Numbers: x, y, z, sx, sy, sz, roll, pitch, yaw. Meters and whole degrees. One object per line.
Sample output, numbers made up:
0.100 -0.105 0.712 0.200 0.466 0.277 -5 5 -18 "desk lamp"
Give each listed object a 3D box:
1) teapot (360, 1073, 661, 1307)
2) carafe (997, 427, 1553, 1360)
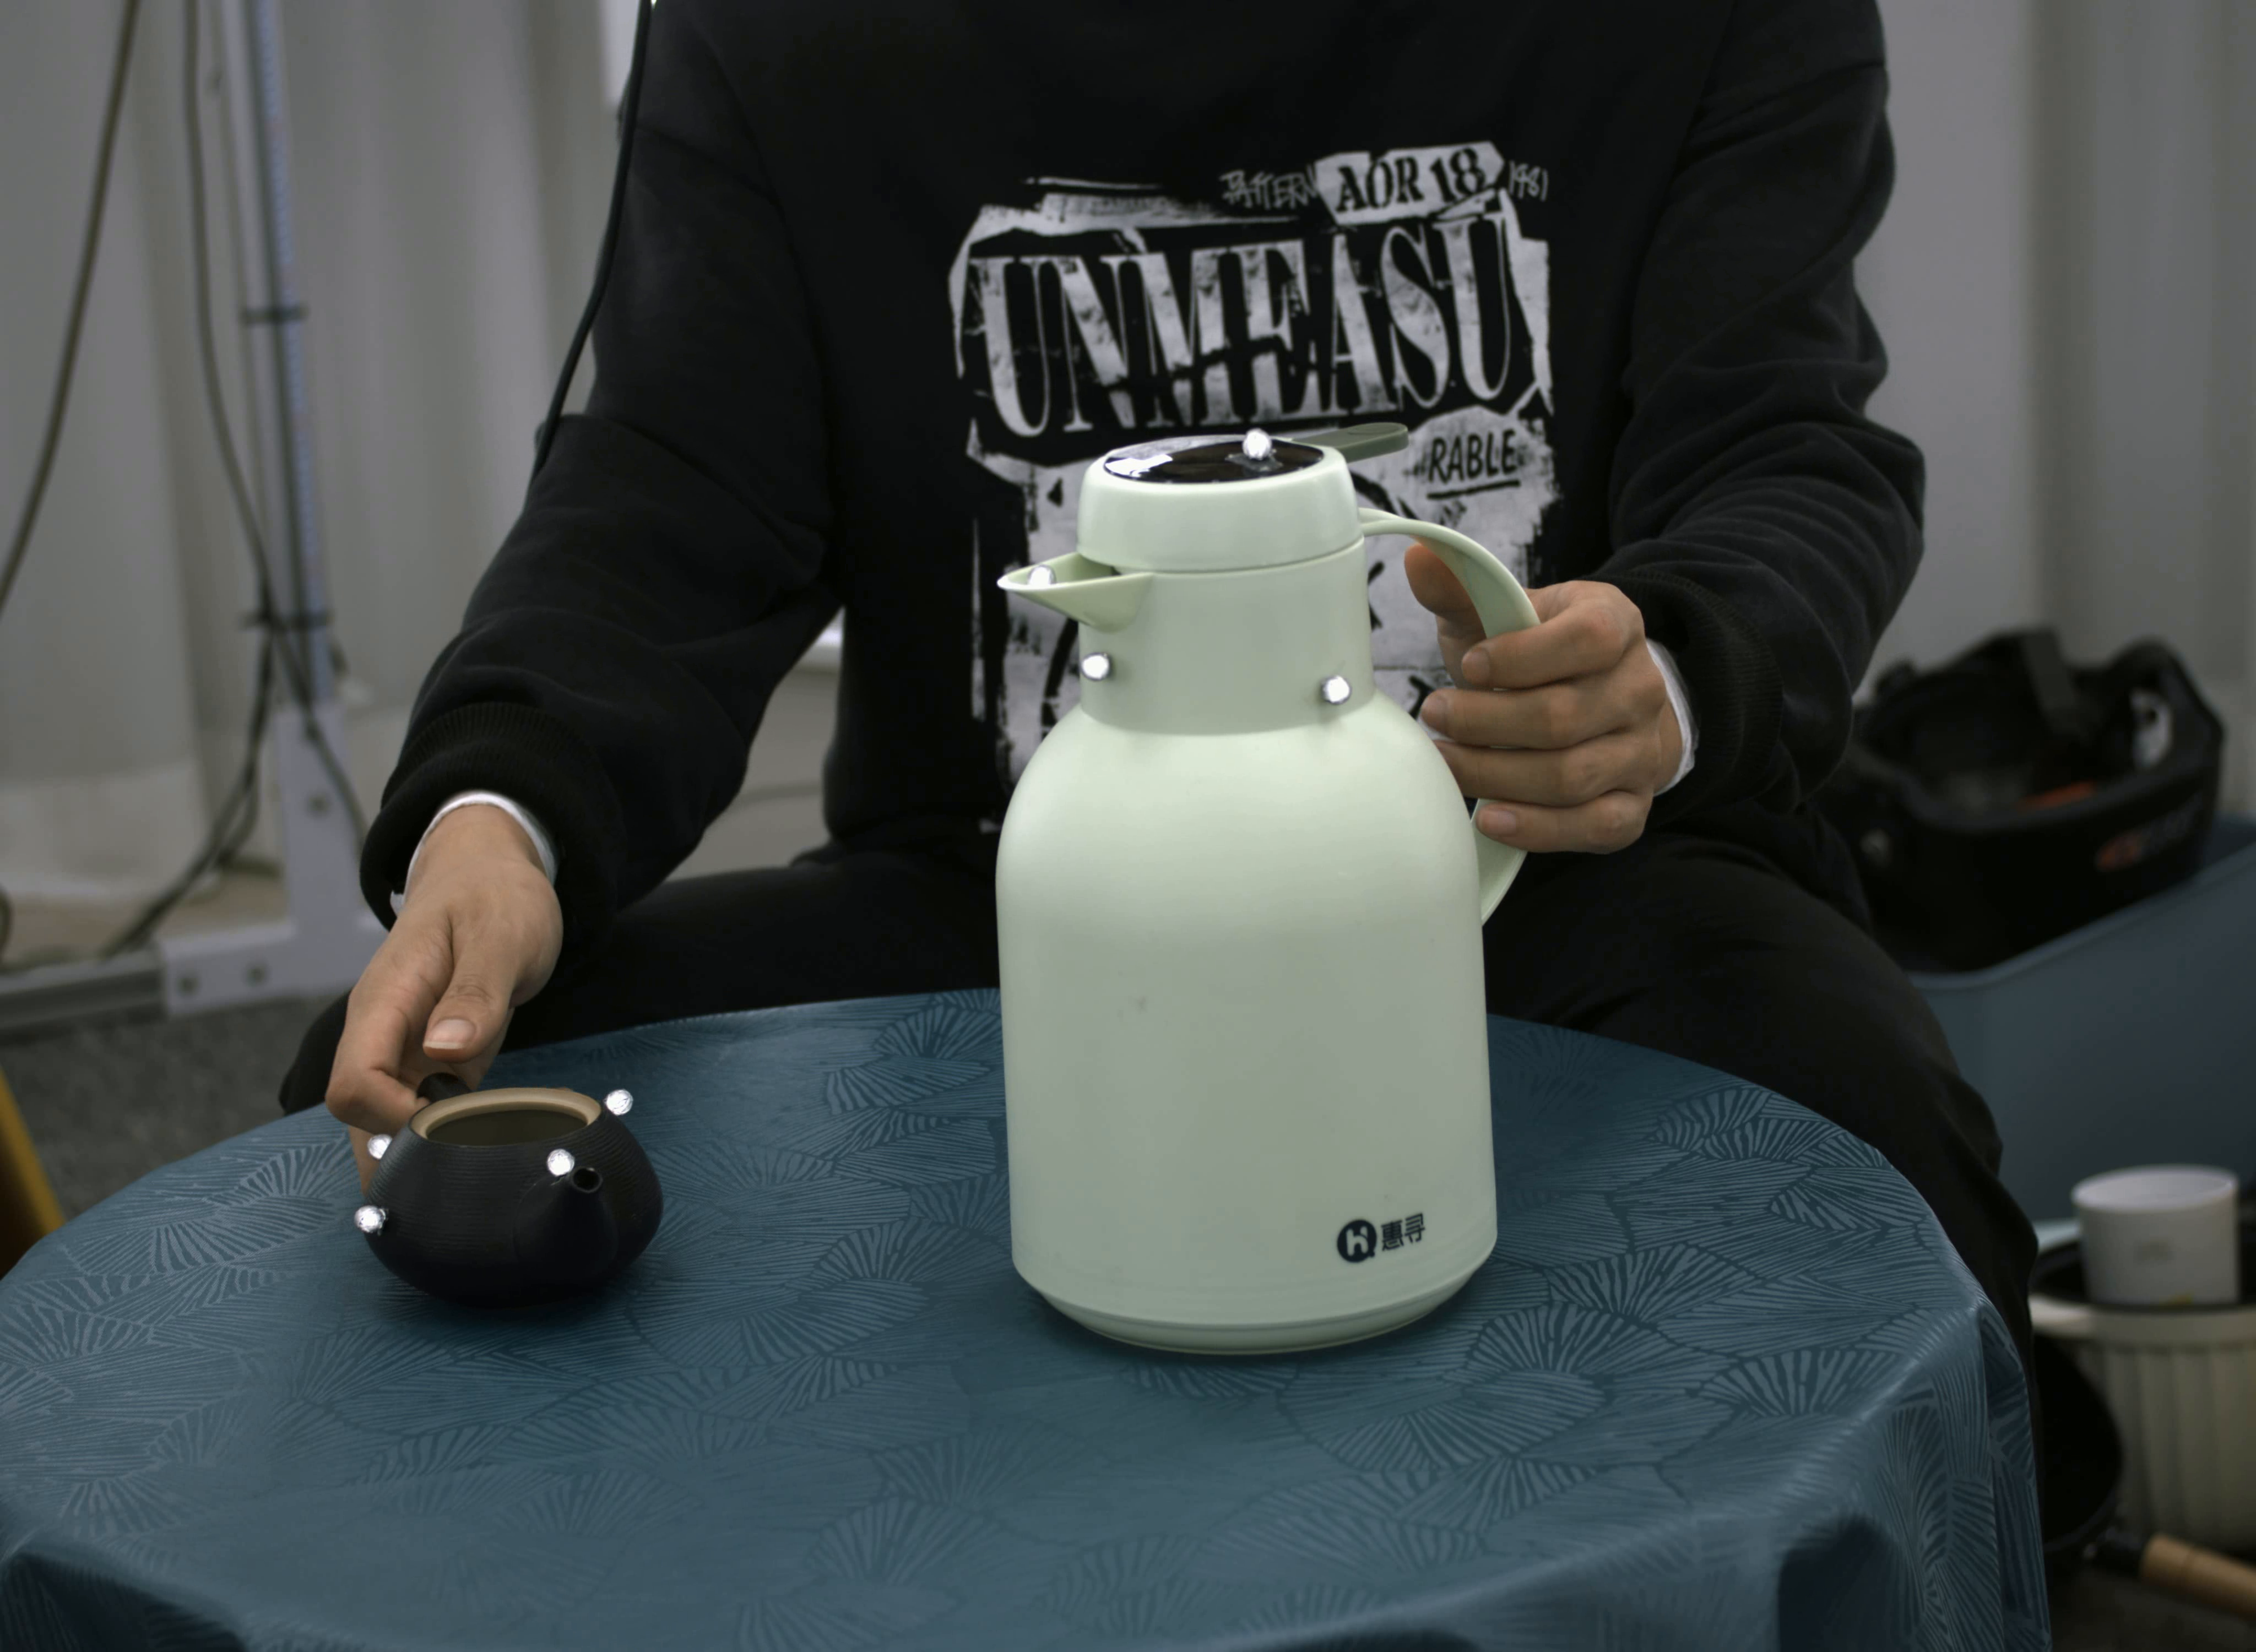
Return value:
-0.187 0.112 1.655 0.090 0.053 0.134 -8 16 -28 "teapot"
0.044 0.014 1.601 0.186 0.256 0.145 -8 13 -34 "carafe"
